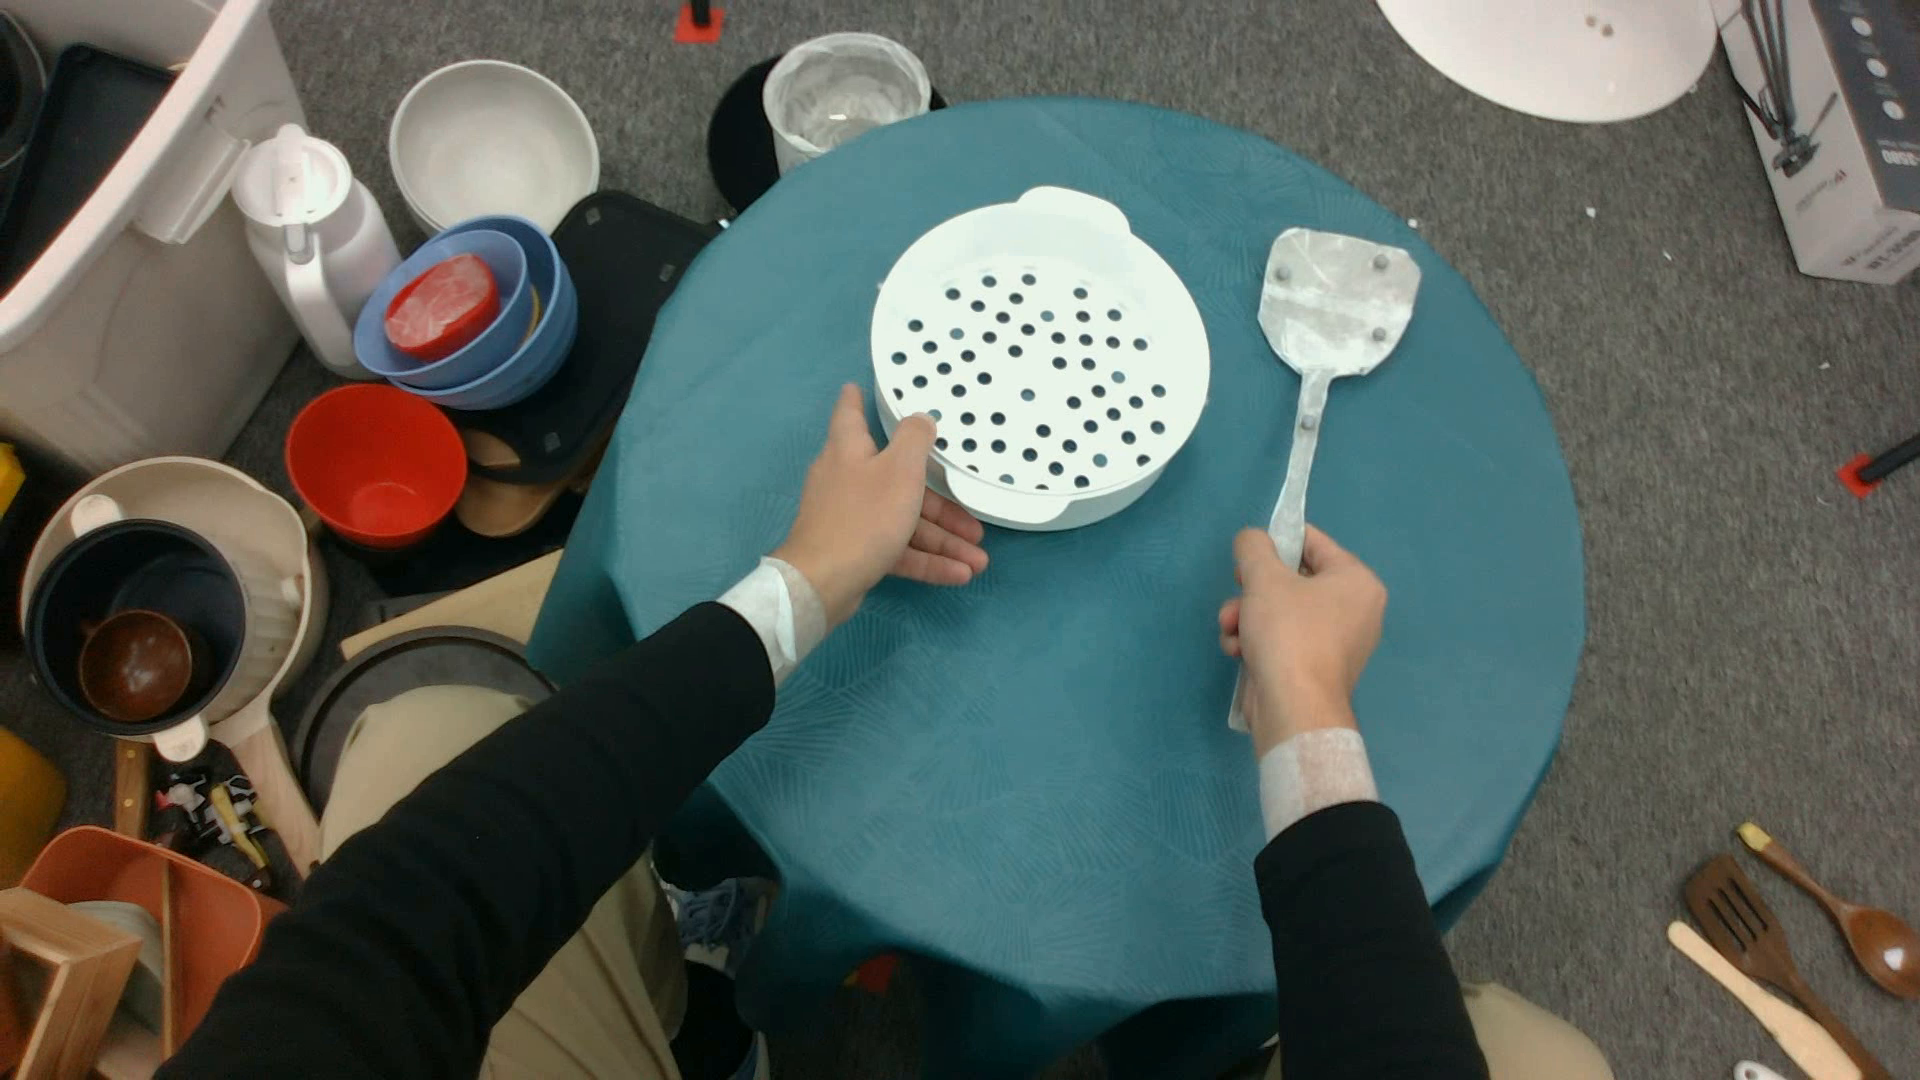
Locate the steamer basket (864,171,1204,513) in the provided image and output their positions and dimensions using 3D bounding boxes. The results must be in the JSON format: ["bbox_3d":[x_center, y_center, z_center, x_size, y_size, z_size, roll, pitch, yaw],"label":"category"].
[{"bbox_3d":[0.042,-0.113,0.835,0.202,0.069,0.231,16,67,1],"label":"steamer basket"}]

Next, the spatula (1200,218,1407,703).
[{"bbox_3d":[0.196,-0.059,0.826,0.098,0.044,0.367,17,54,7],"label":"spatula"}]
